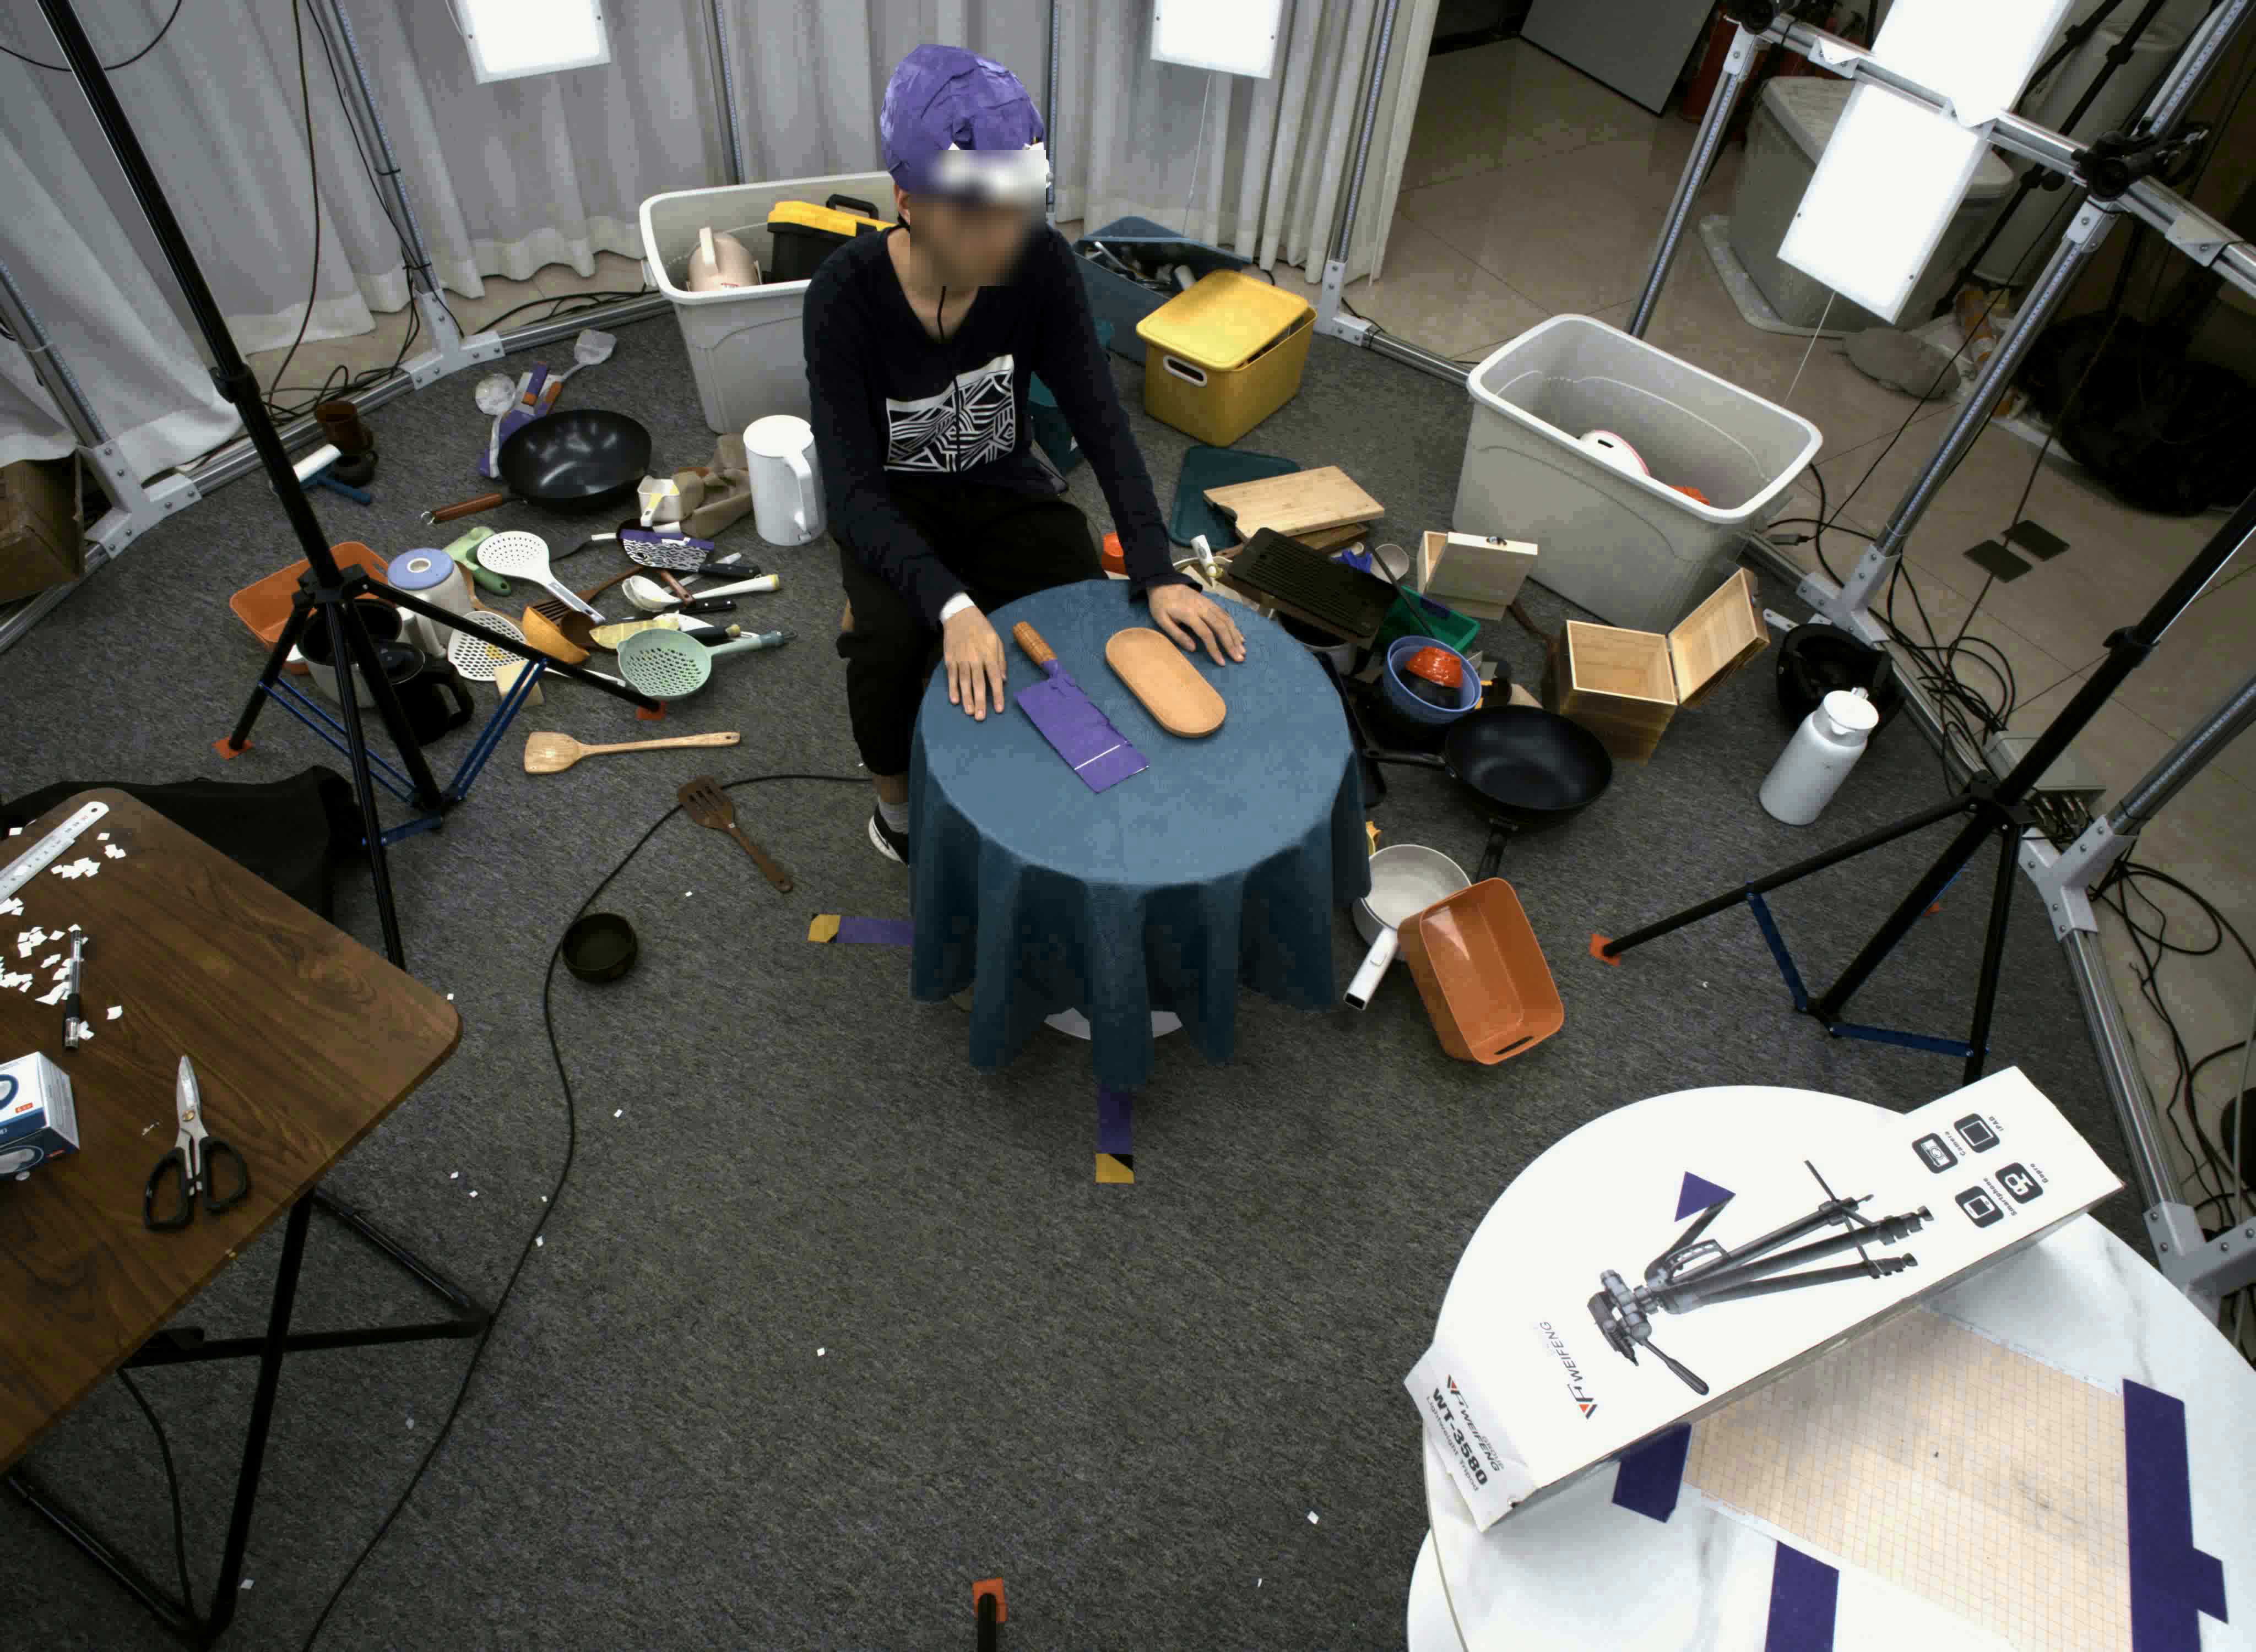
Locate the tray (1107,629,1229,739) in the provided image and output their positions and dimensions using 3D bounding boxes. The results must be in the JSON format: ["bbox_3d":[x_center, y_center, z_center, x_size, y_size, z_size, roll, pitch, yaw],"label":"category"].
[{"bbox_3d":[0.055,-0.205,1.838,0.102,0.020,0.236,-25,56,-22],"label":"tray"}]

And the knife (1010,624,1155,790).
[{"bbox_3d":[-0.093,-0.171,1.792,0.104,0.031,0.321,-27,56,-25],"label":"knife"}]
